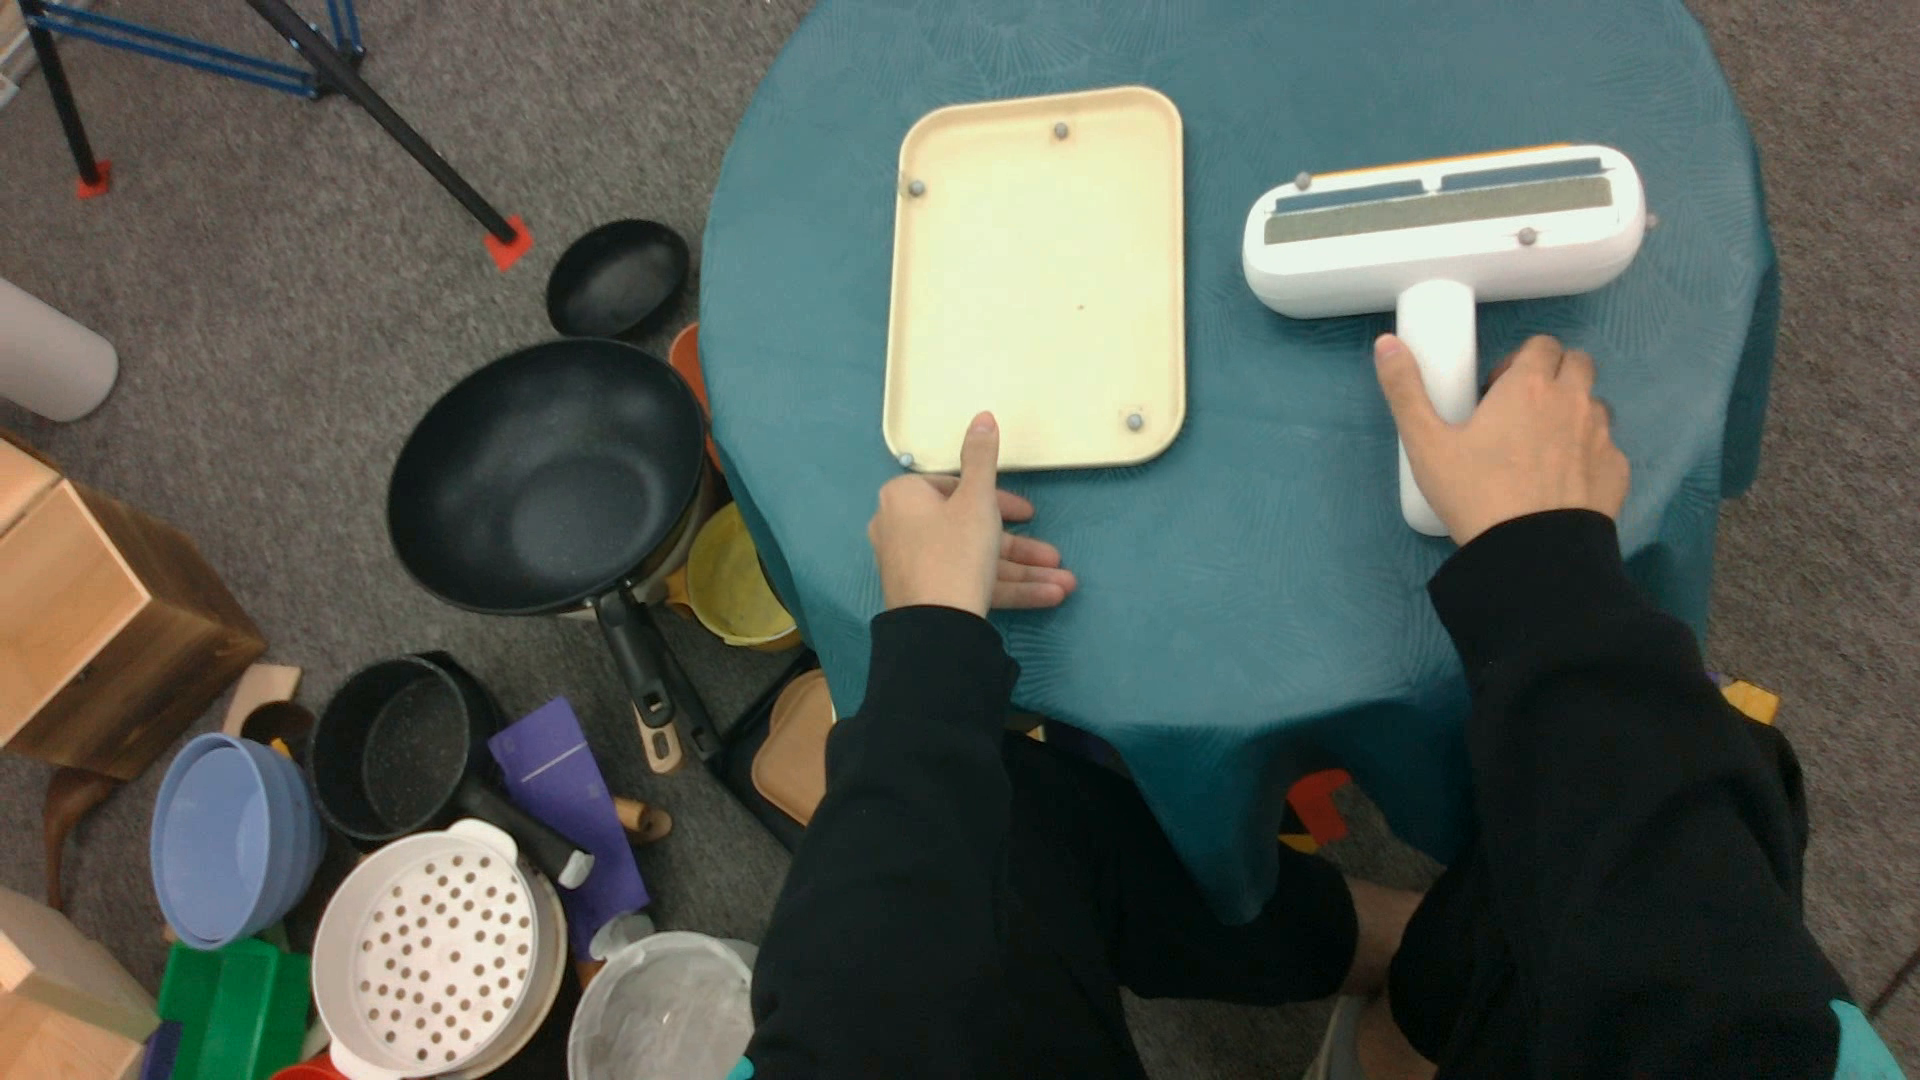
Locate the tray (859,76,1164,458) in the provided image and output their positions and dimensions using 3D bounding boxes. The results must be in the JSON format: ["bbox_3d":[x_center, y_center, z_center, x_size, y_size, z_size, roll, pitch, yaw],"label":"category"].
[{"bbox_3d":[0.031,-0.158,0.791,0.171,0.017,0.240,-1,70,11],"label":"tray"}]

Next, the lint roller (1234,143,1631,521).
[{"bbox_3d":[0.233,-0.107,0.703,0.192,0.074,0.193,3,73,19],"label":"lint roller"}]
